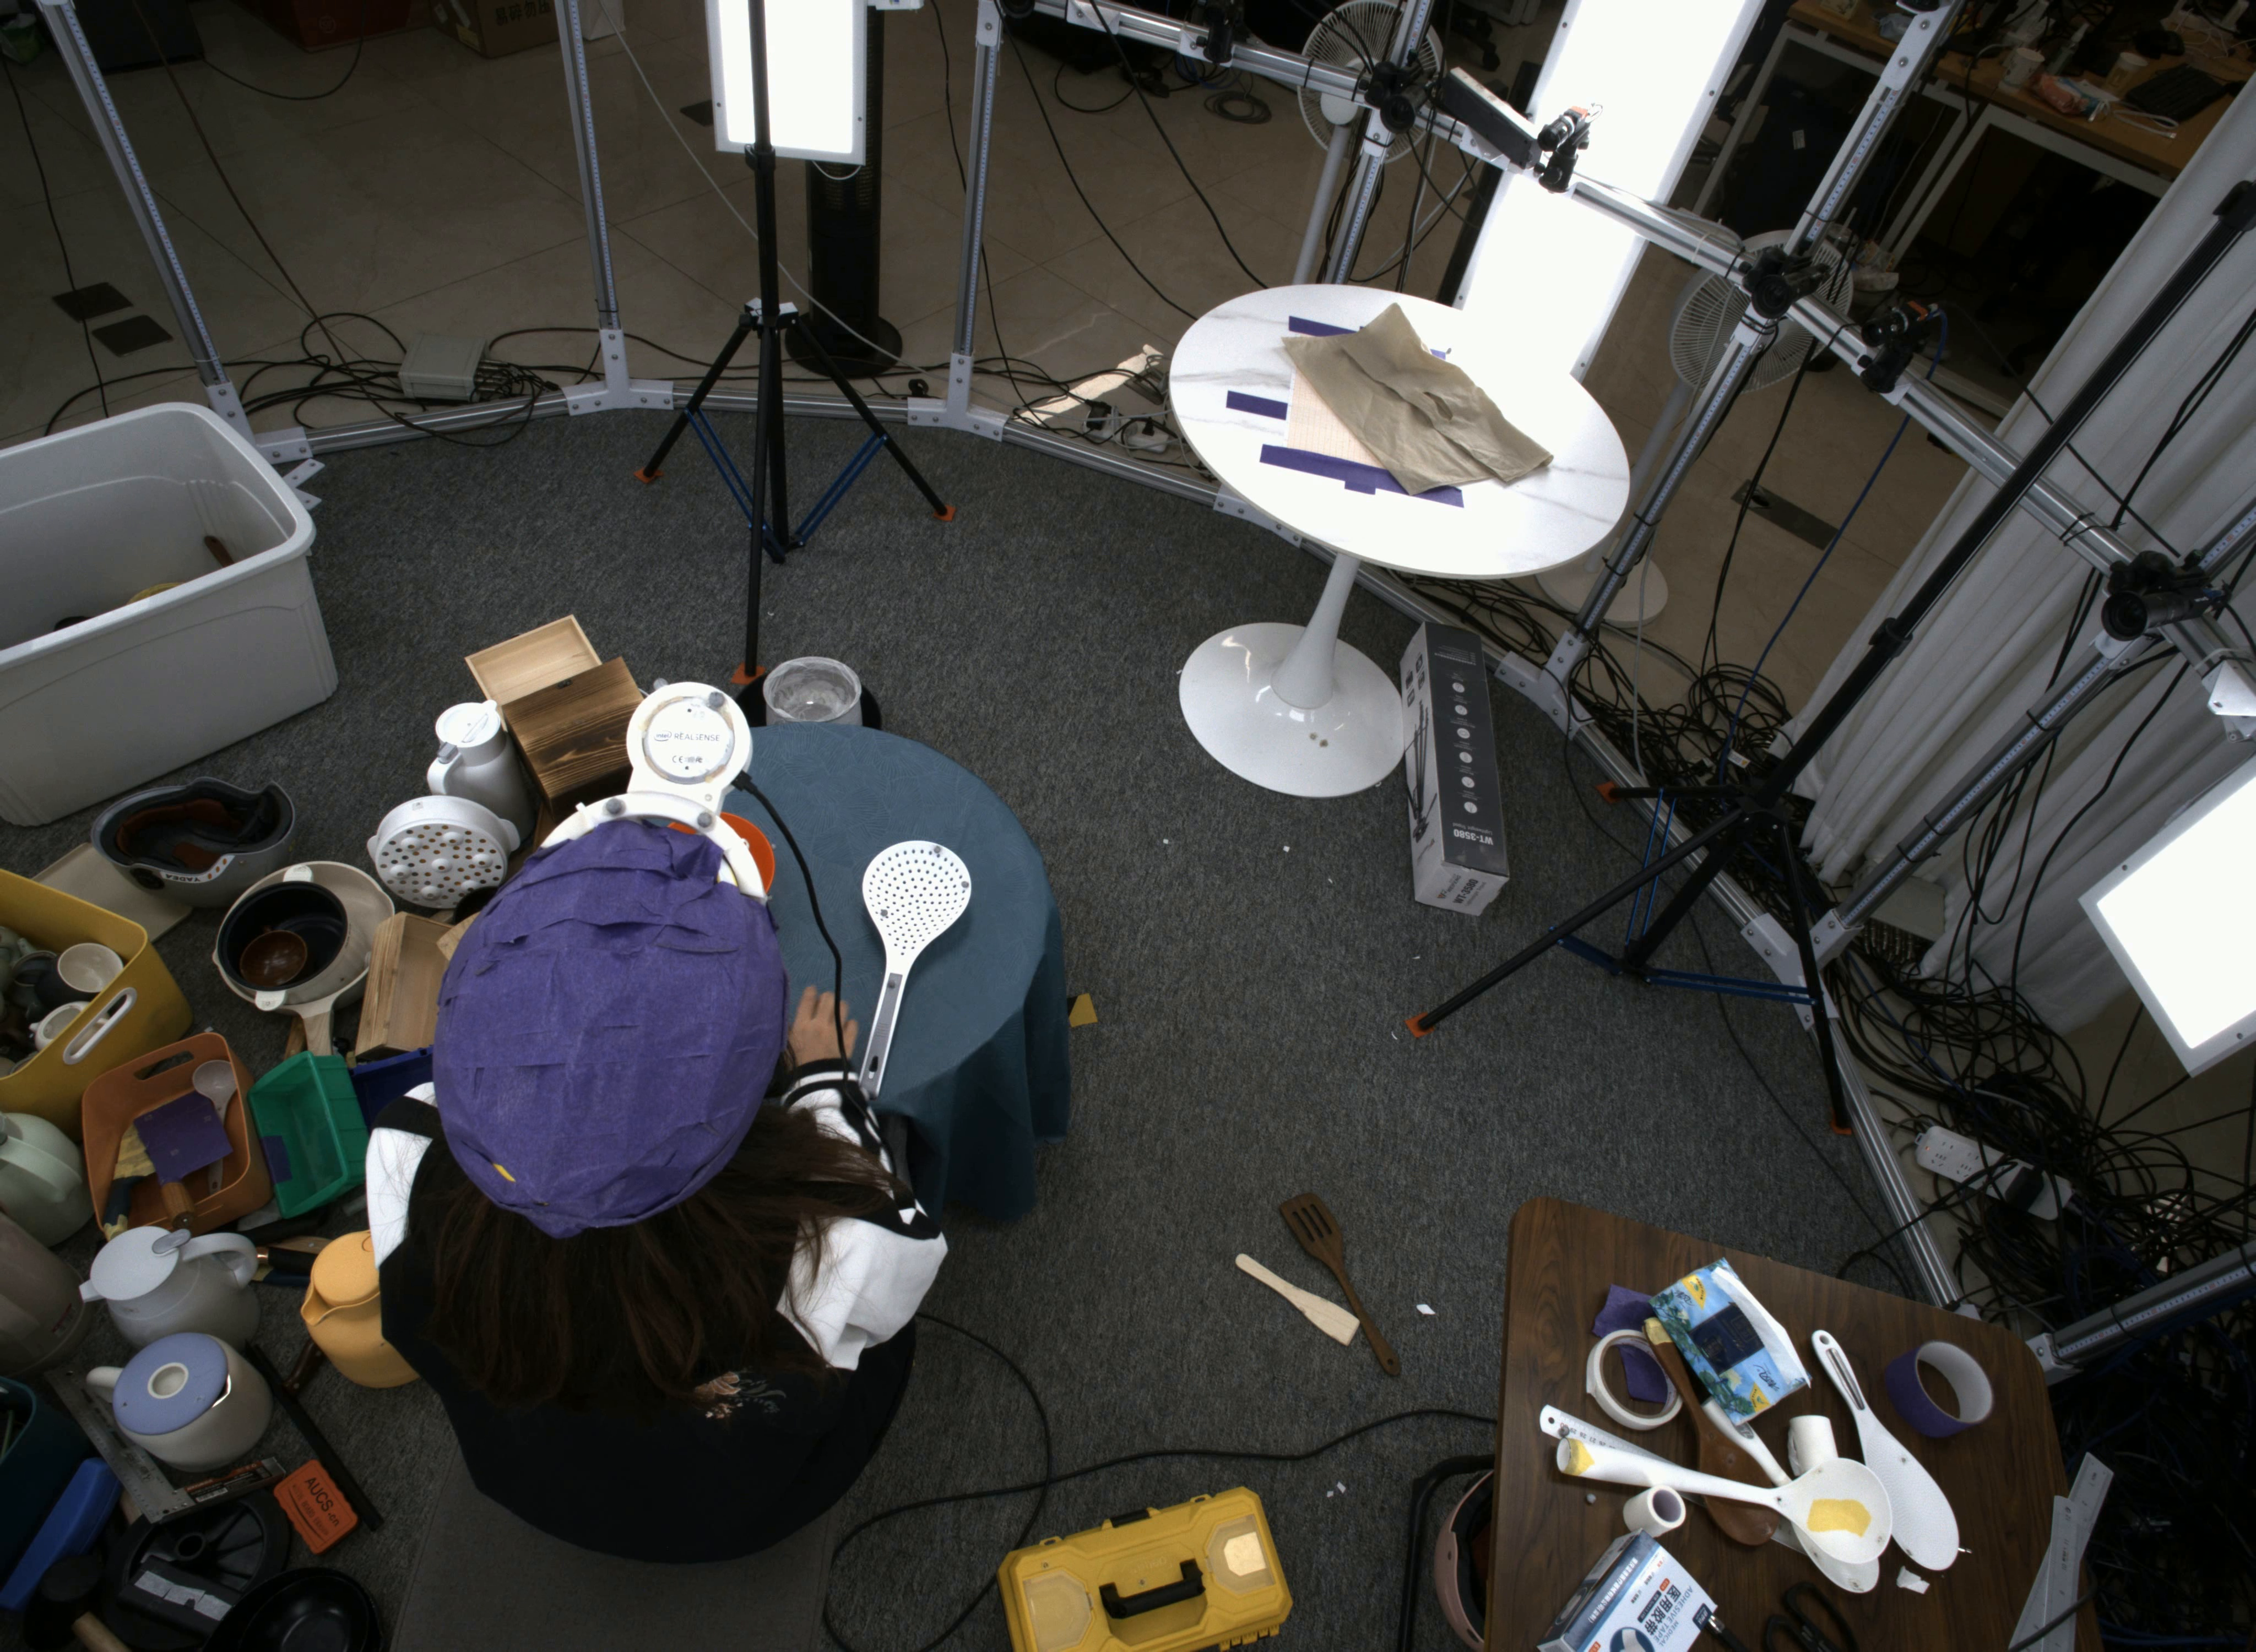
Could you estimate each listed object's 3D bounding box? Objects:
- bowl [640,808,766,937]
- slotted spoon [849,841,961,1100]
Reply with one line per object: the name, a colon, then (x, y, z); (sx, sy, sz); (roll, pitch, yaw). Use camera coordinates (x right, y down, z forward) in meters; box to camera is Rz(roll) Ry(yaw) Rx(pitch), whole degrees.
bowl: (-0.519, 0.067, 1.571); (0.149, 0.106, 0.145); (12, 50, -13)
slotted spoon: (-0.292, 0.169, 1.599); (0.135, 0.047, 0.344); (10, 53, -4)
